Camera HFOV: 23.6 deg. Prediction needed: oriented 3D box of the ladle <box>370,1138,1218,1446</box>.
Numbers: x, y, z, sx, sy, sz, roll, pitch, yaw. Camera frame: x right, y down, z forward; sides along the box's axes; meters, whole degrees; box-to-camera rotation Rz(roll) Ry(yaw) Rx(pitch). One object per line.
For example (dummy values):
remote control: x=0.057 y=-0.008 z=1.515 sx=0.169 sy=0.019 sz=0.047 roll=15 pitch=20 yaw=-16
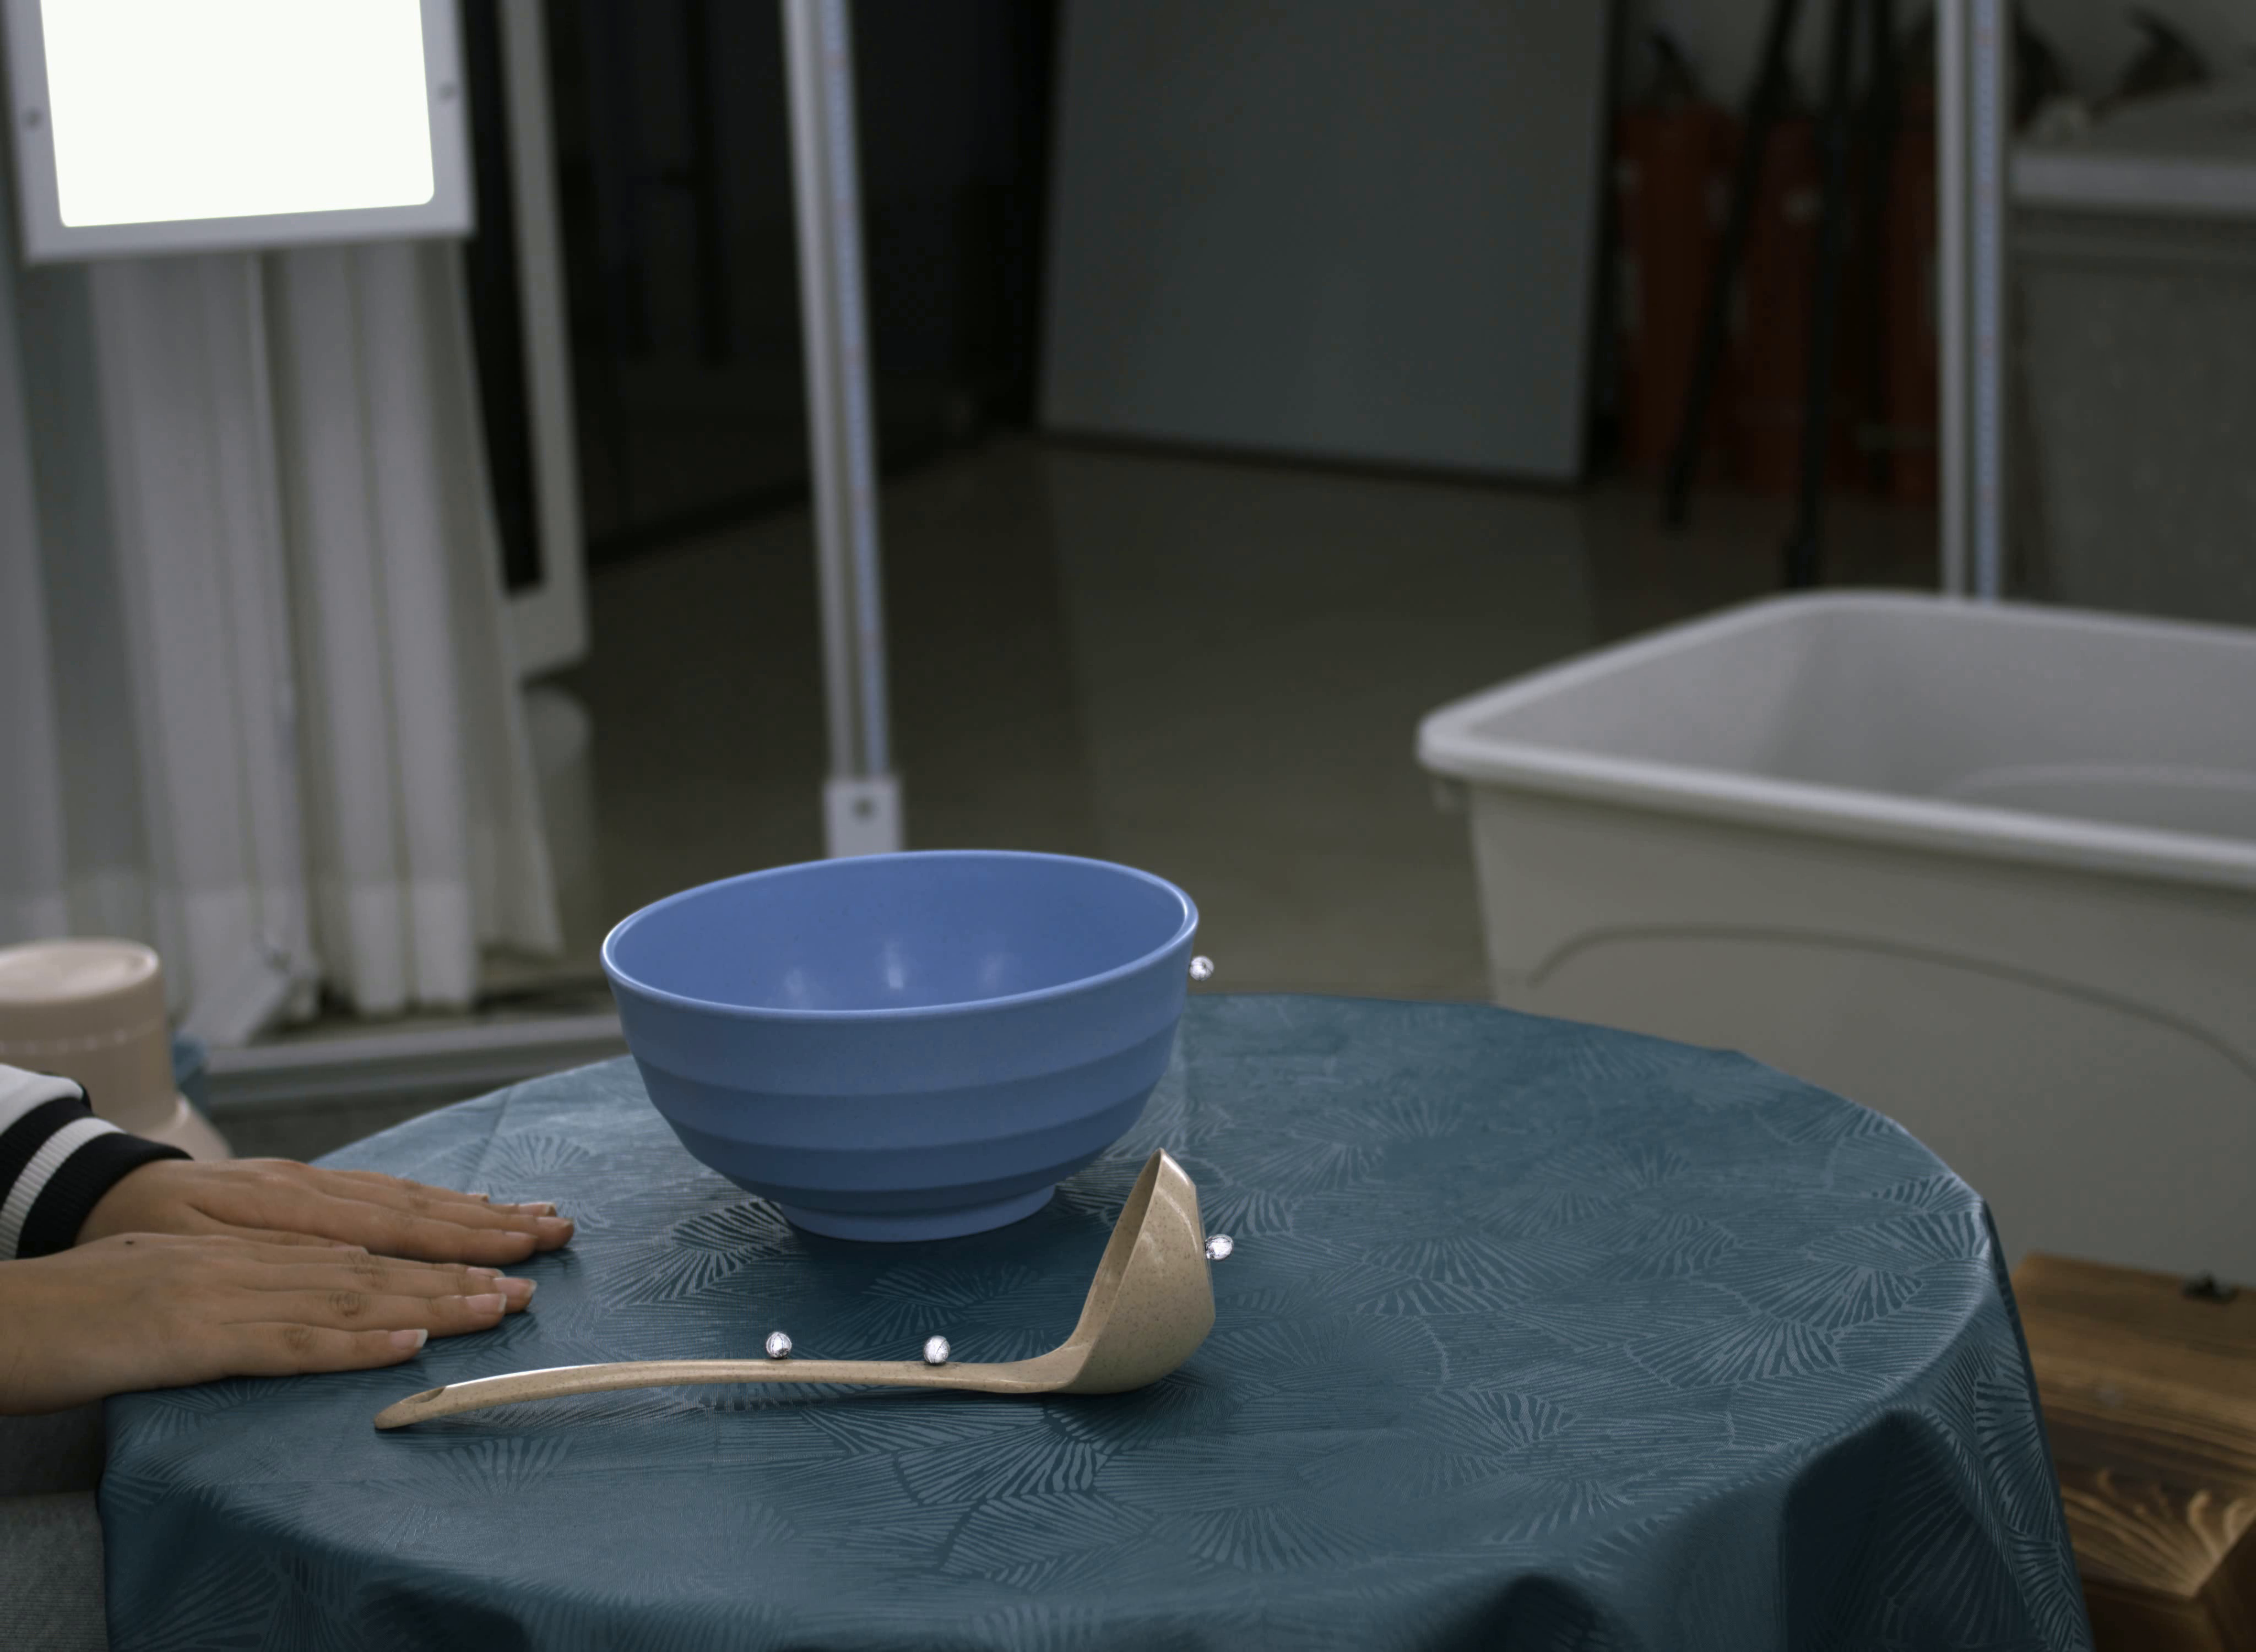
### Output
ladle: x=-0.100 y=0.136 z=1.584 sx=0.251 sy=0.073 sz=0.072 roll=-4 pitch=12 yaw=1

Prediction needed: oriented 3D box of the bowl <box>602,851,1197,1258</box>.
bowl: x=-0.071 y=0.081 z=1.768 sx=0.194 sy=0.096 sz=0.197 roll=-4 pitch=15 yaw=0
